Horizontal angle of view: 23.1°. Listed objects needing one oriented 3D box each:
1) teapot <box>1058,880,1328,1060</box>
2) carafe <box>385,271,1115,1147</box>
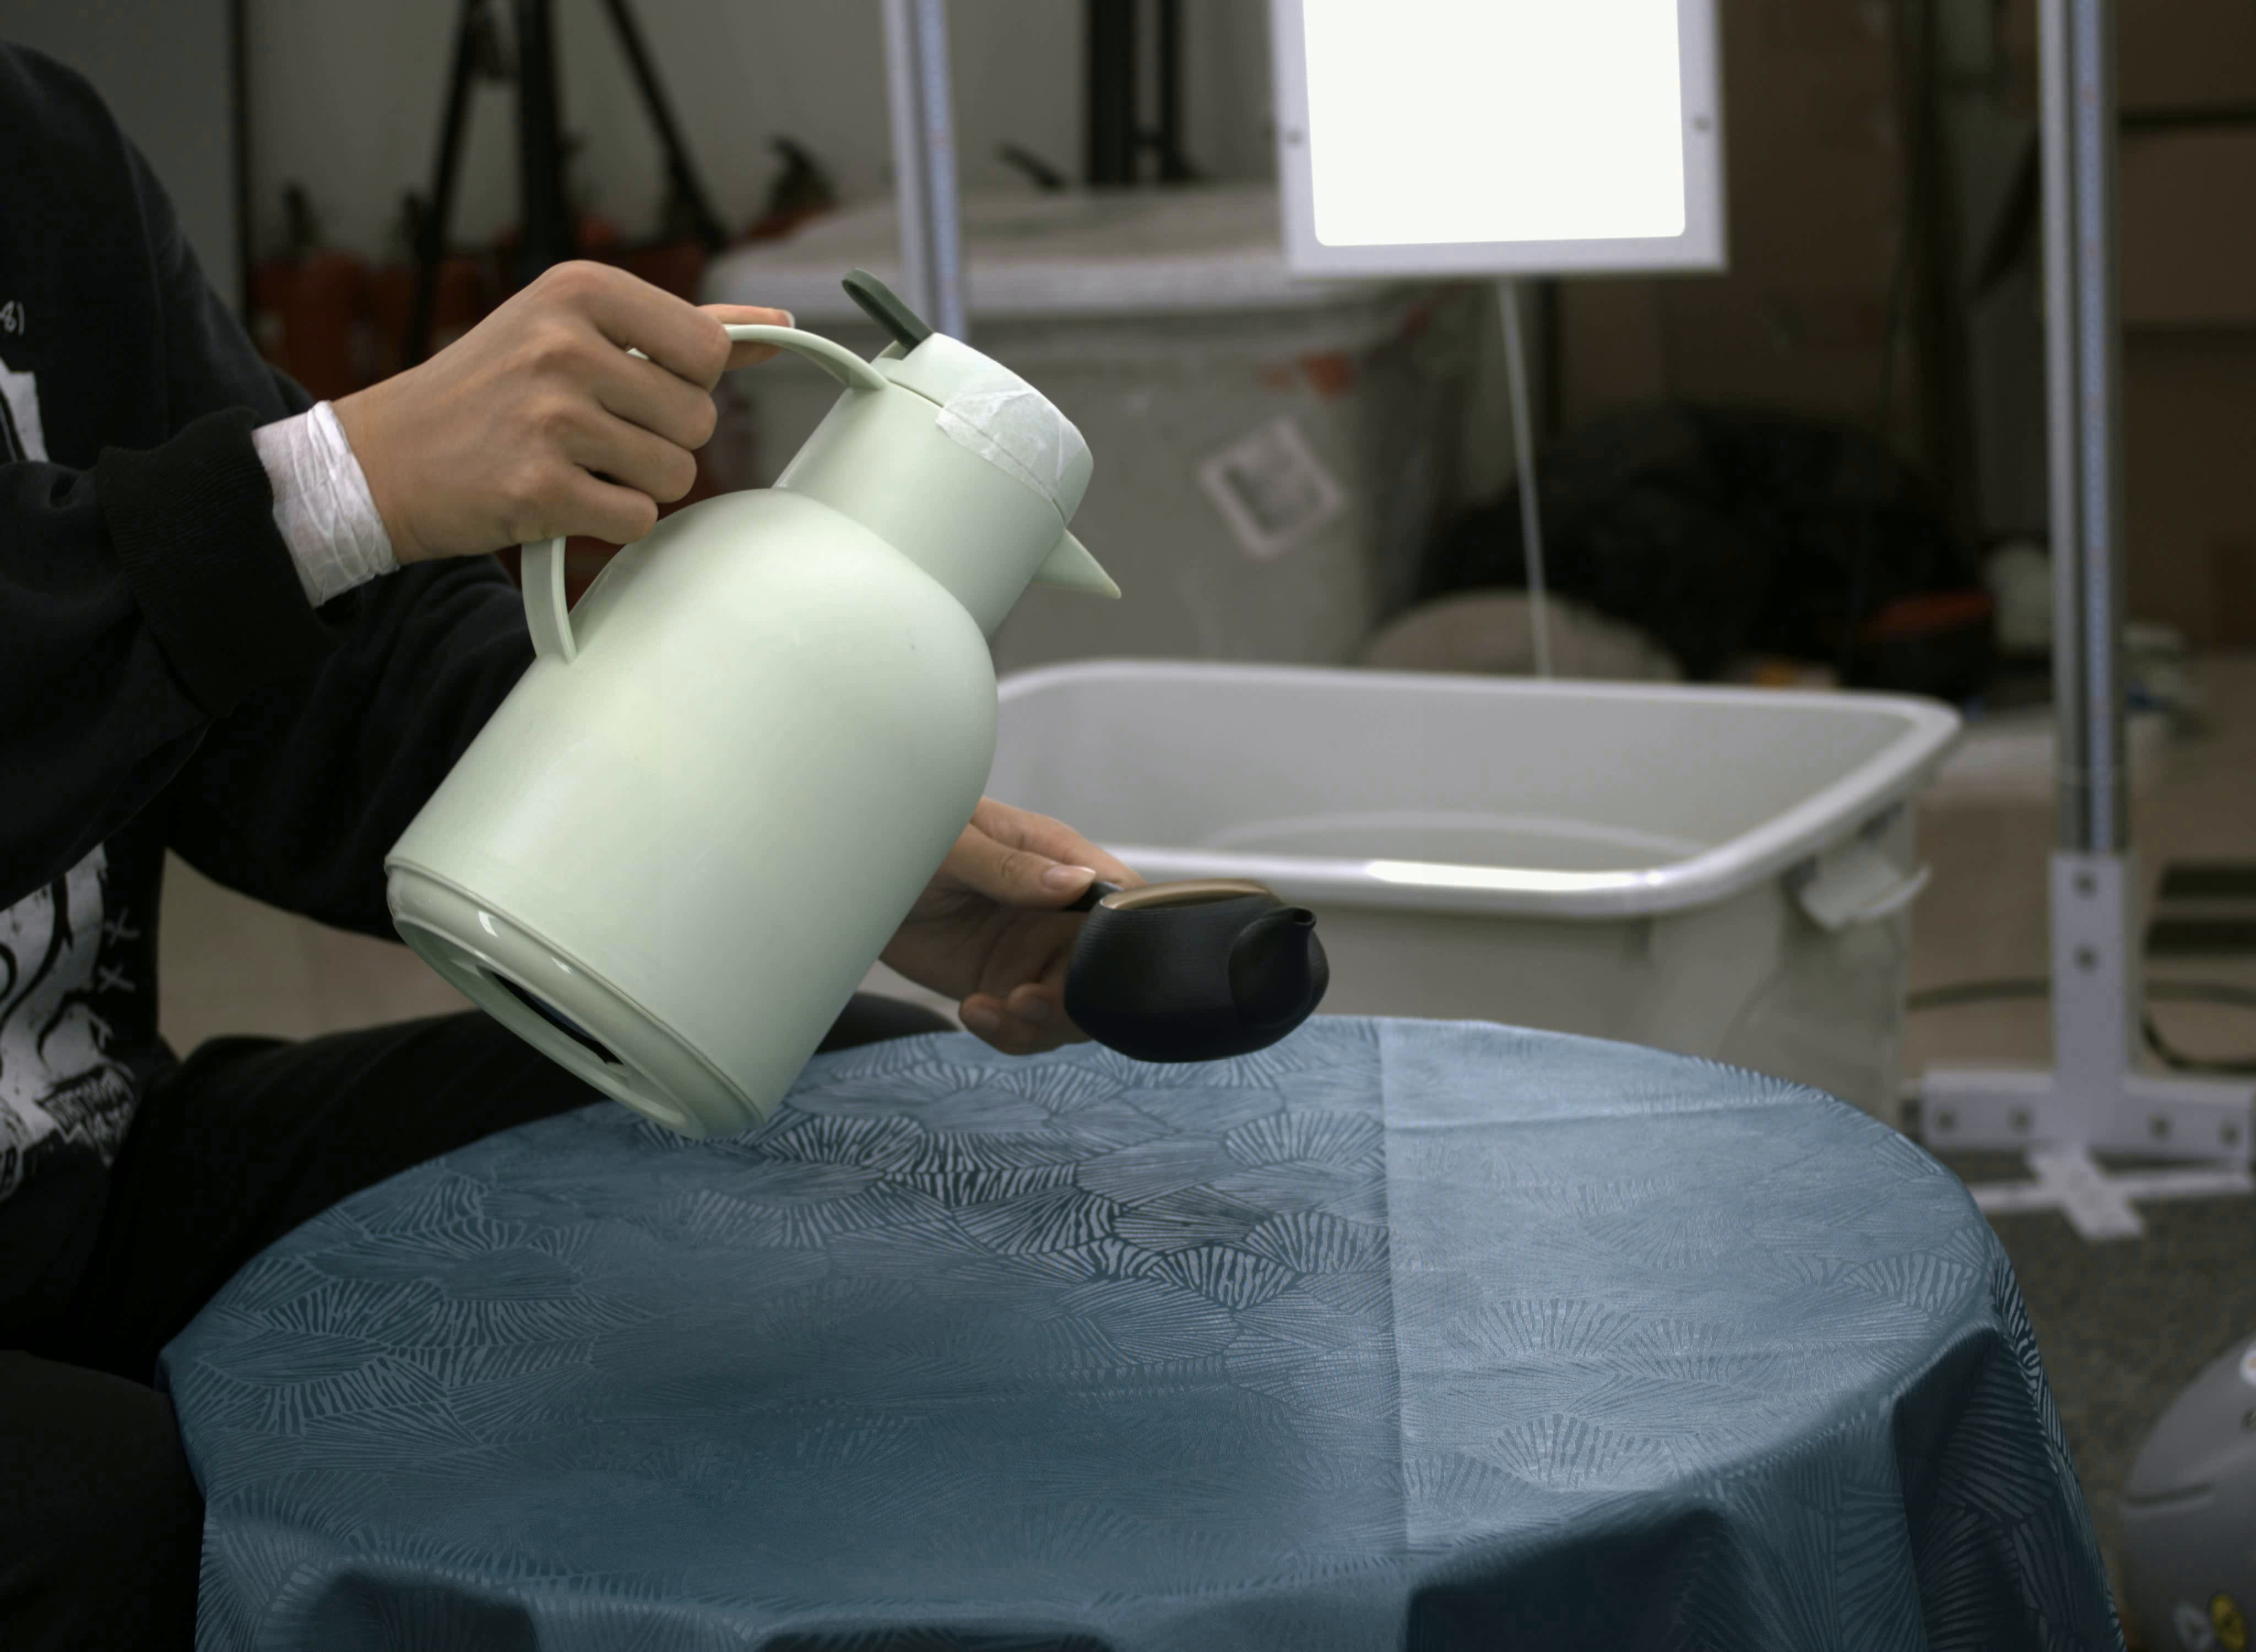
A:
[{"bbox_3d":[0.021,0.048,1.844,0.089,0.053,0.136,-10,11,-35],"label":"teapot"},{"bbox_3d":[-0.122,-0.044,1.736,0.184,0.256,0.146,36,-9,-25],"label":"carafe"}]
